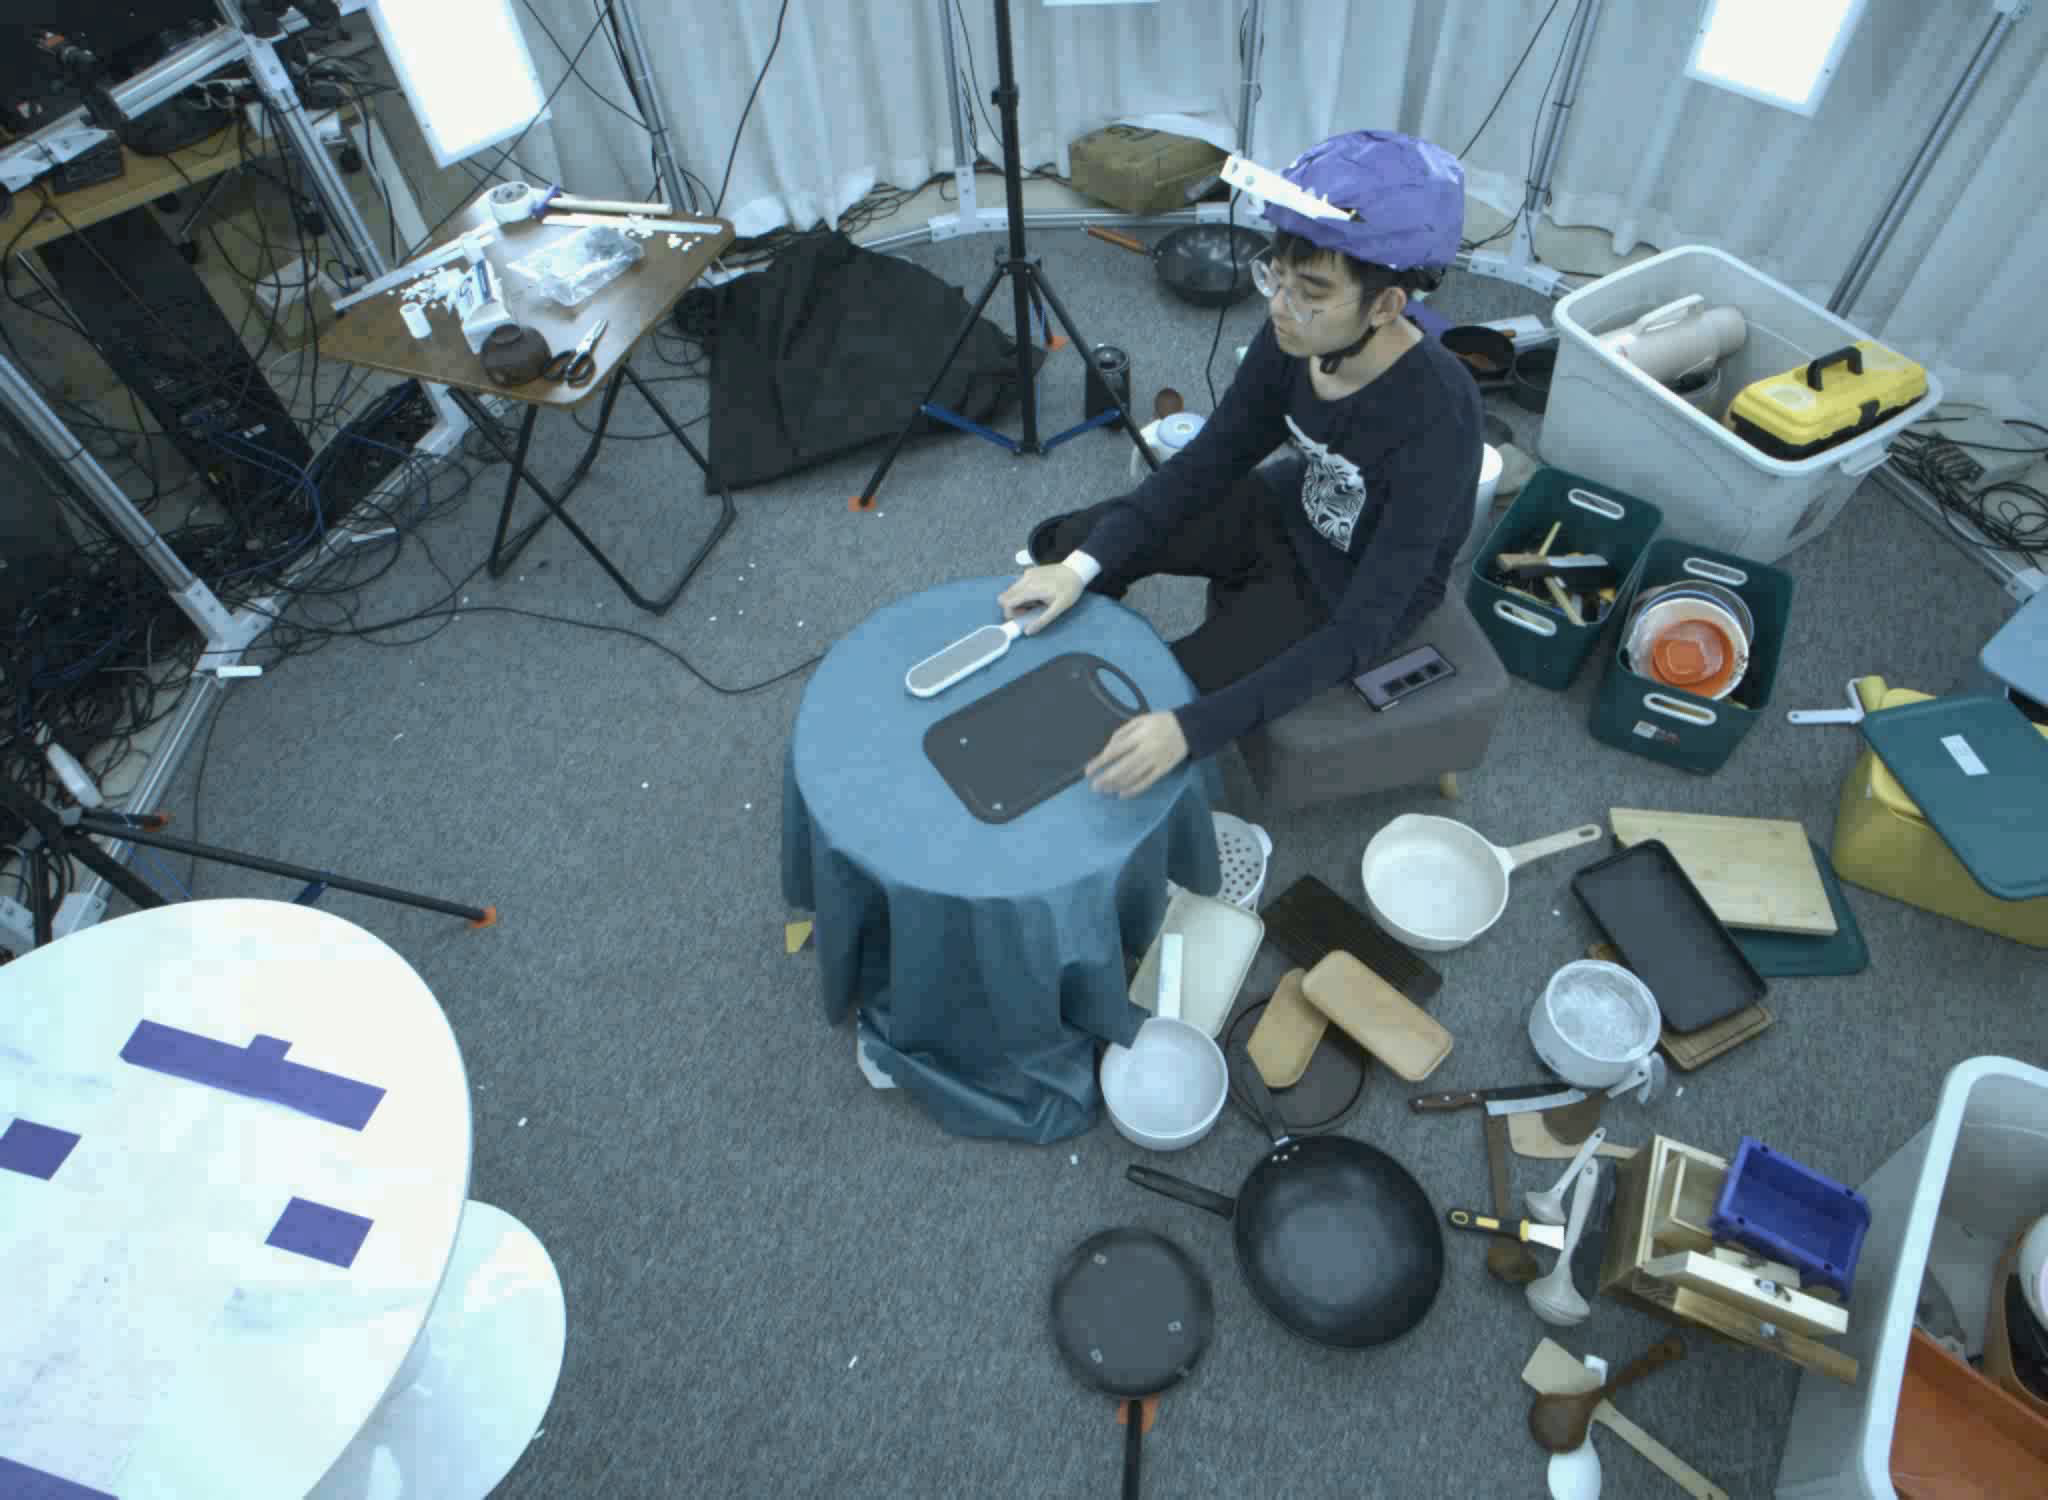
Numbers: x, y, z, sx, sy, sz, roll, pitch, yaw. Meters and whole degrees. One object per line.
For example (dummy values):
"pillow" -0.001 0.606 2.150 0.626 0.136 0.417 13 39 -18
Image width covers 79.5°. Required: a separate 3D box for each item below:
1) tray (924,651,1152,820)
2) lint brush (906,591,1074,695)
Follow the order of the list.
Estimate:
"tray" 0.027 -0.033 1.814 0.328 0.010 0.207 -29 59 -18
"lint brush" -0.048 -0.170 1.901 0.311 0.021 0.059 -32 54 -20
